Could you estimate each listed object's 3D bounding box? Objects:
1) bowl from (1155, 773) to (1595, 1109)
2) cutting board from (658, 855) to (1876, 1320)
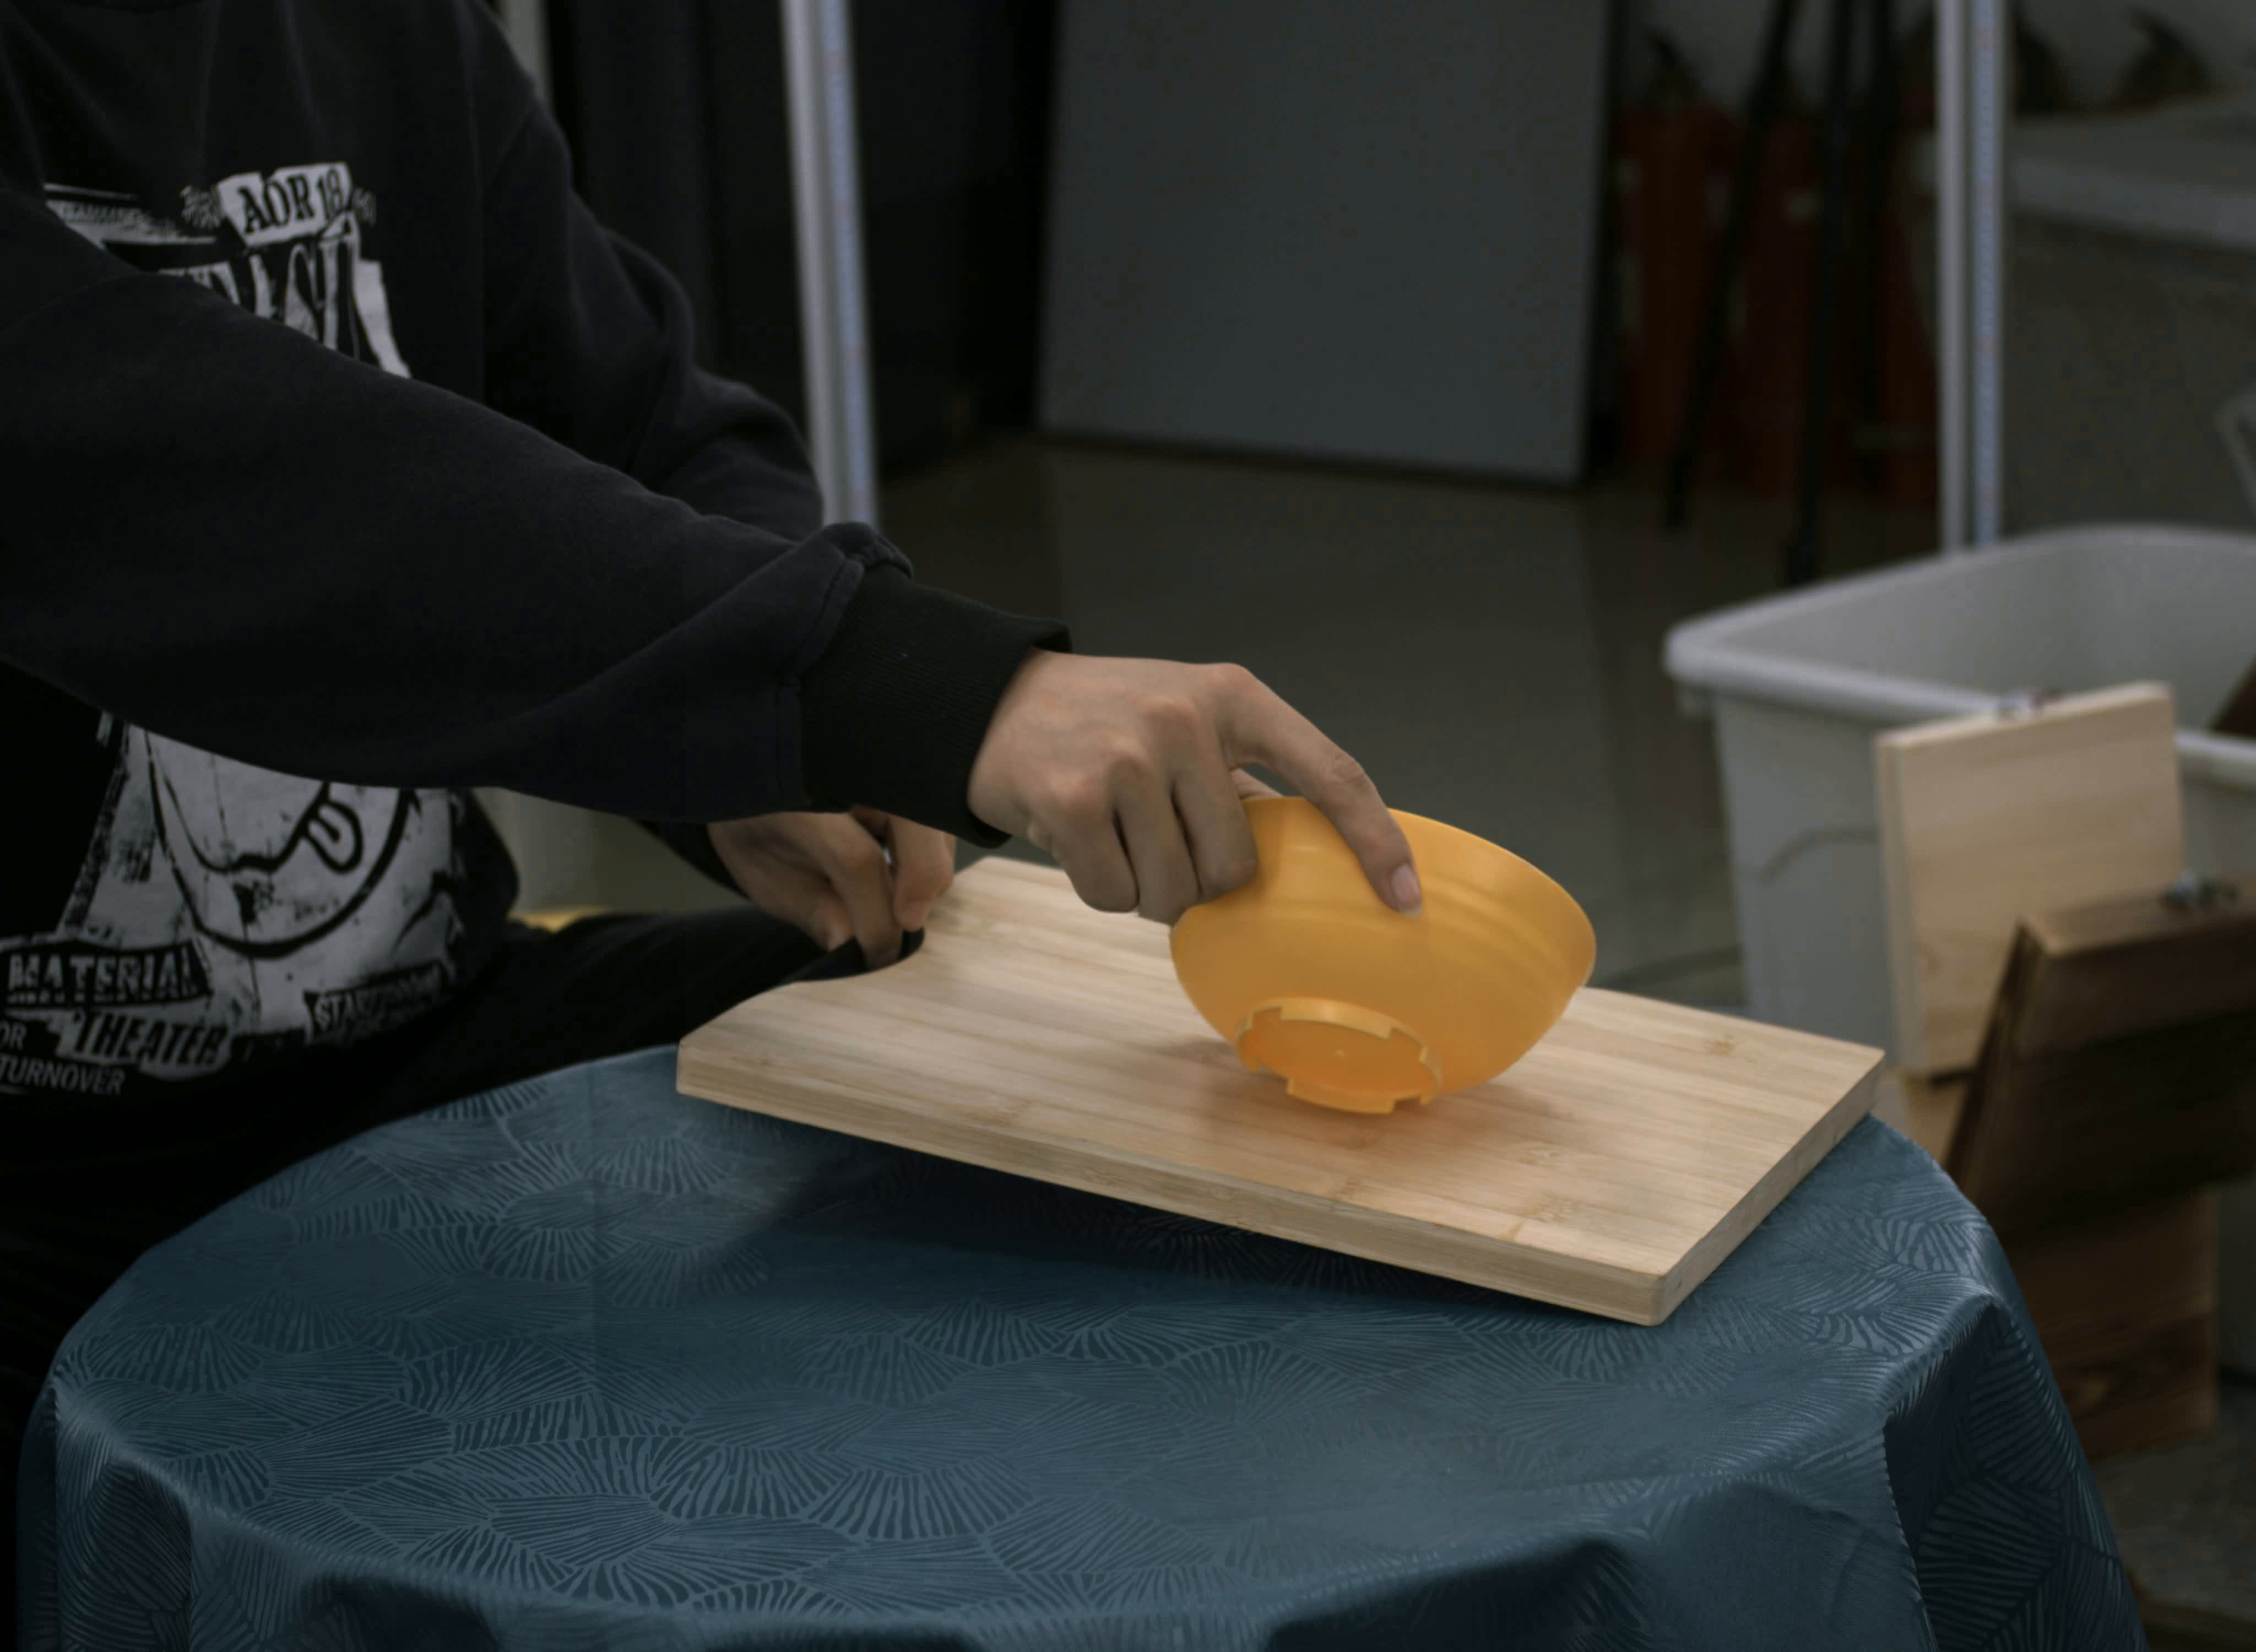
[{"bbox_3d":[0.071,0.047,1.692,0.145,0.144,0.060,3,59,24],"label":"bowl"},{"bbox_3d":[0.050,0.081,1.779,0.349,0.024,0.248,11,19,22],"label":"cutting board"}]
